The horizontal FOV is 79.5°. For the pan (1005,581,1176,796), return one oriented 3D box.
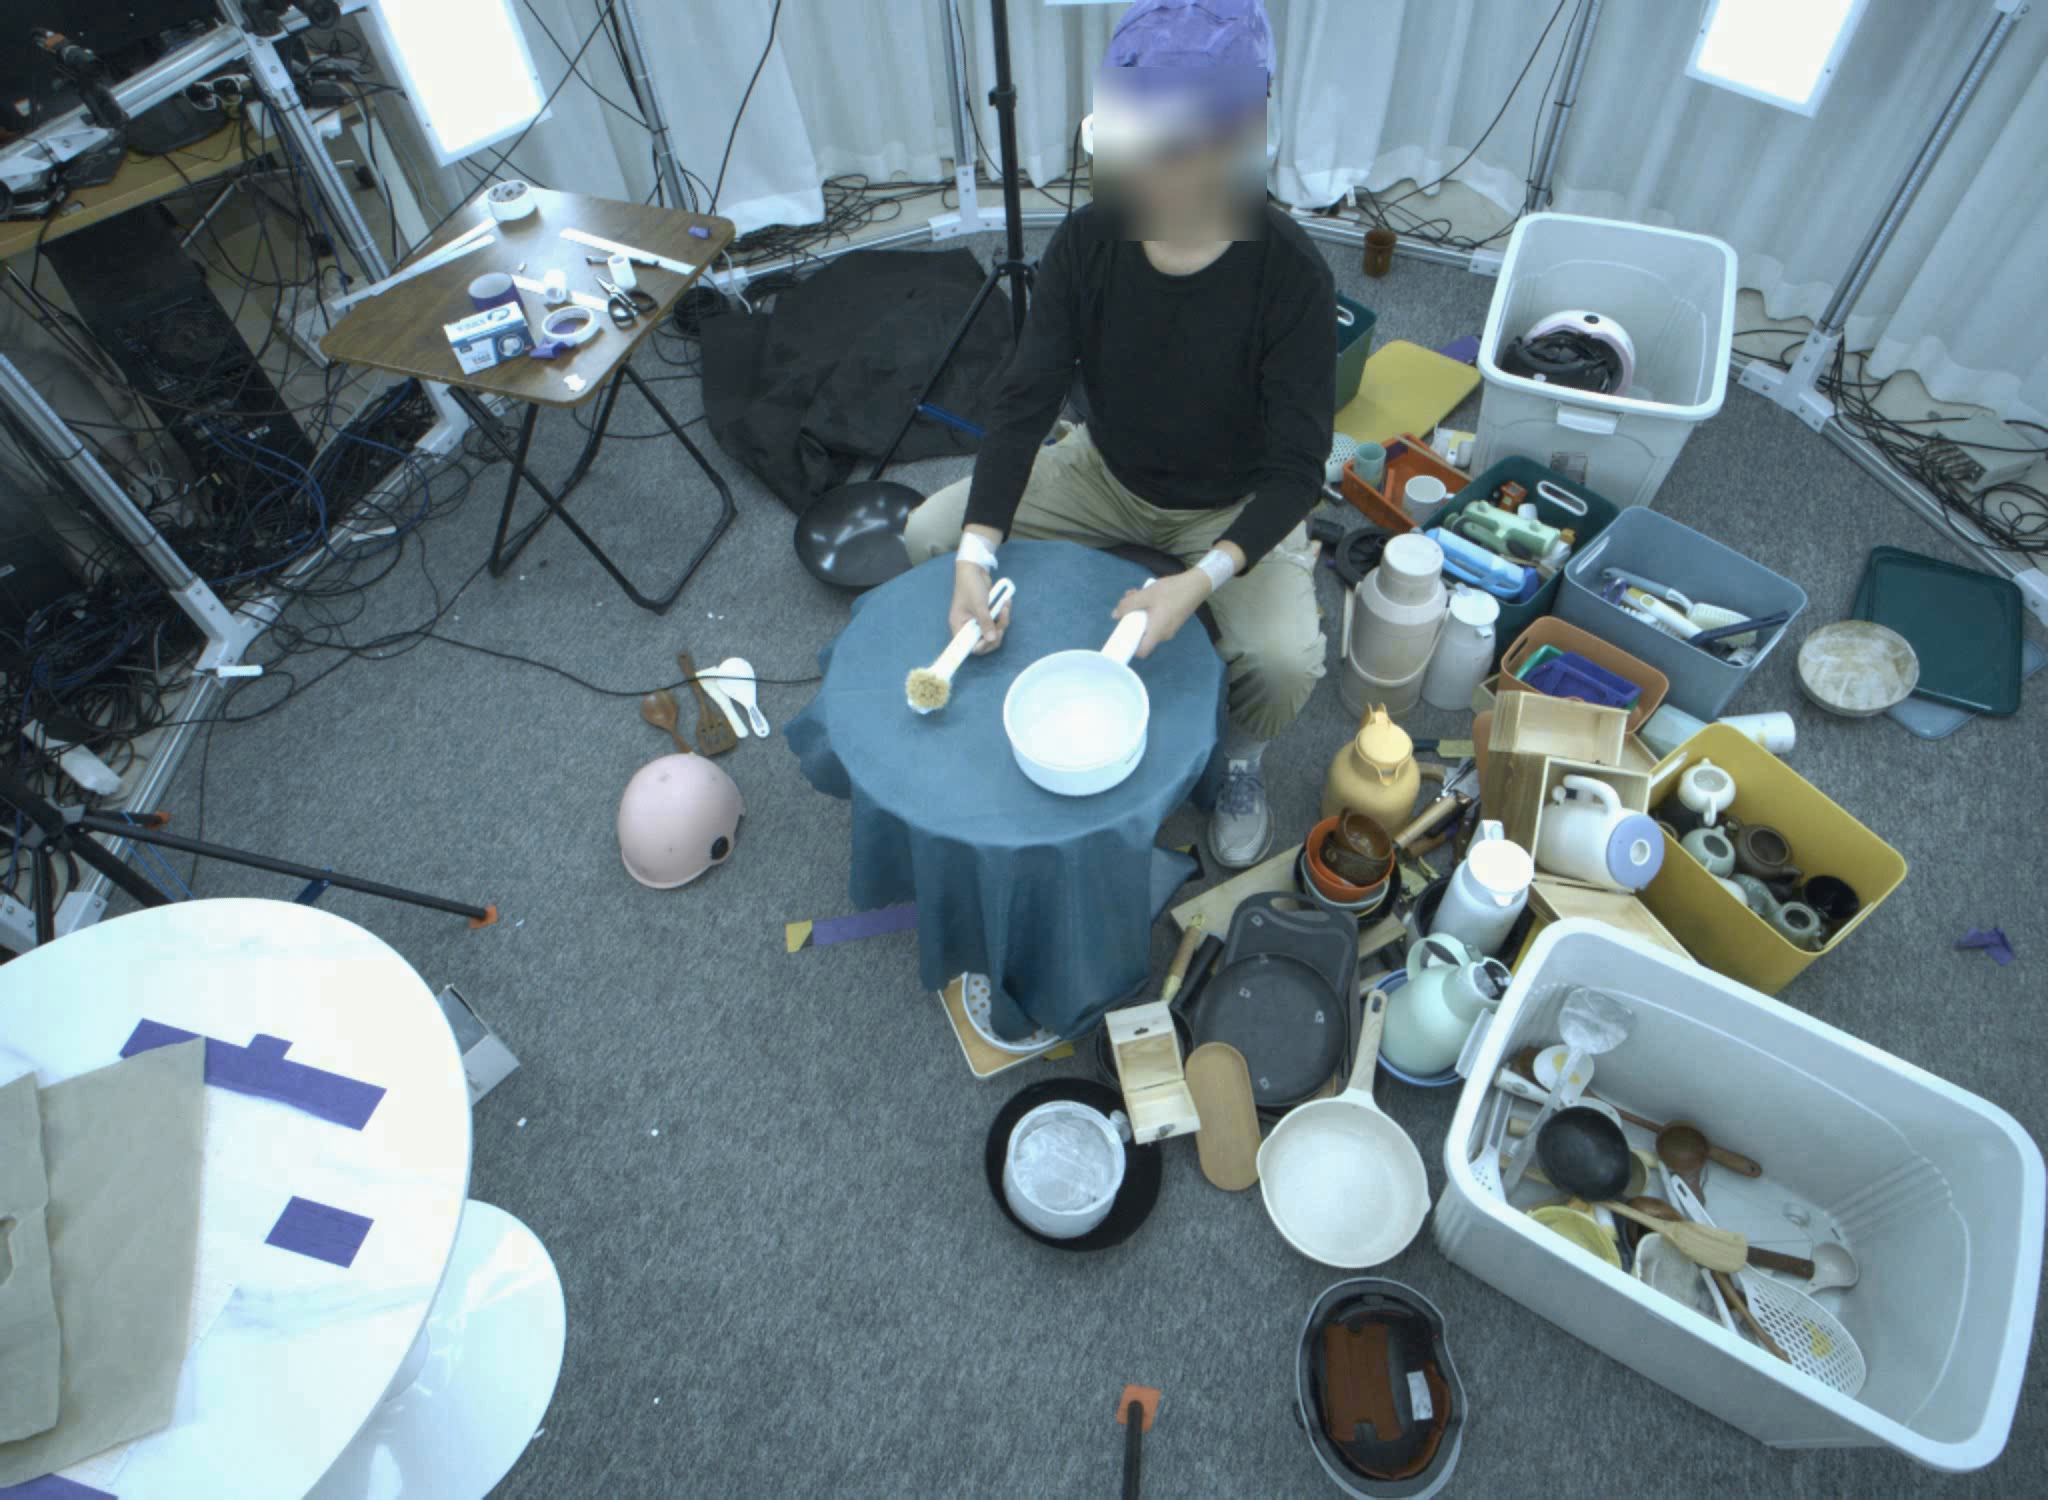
[{"bbox_3d":[0.117,-0.089,1.775,0.198,0.103,0.355,25,63,20],"label":"pan"}]

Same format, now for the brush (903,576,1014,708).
[{"bbox_3d":[-0.092,-0.170,1.842,0.069,0.056,0.267,38,72,-6],"label":"brush"}]
